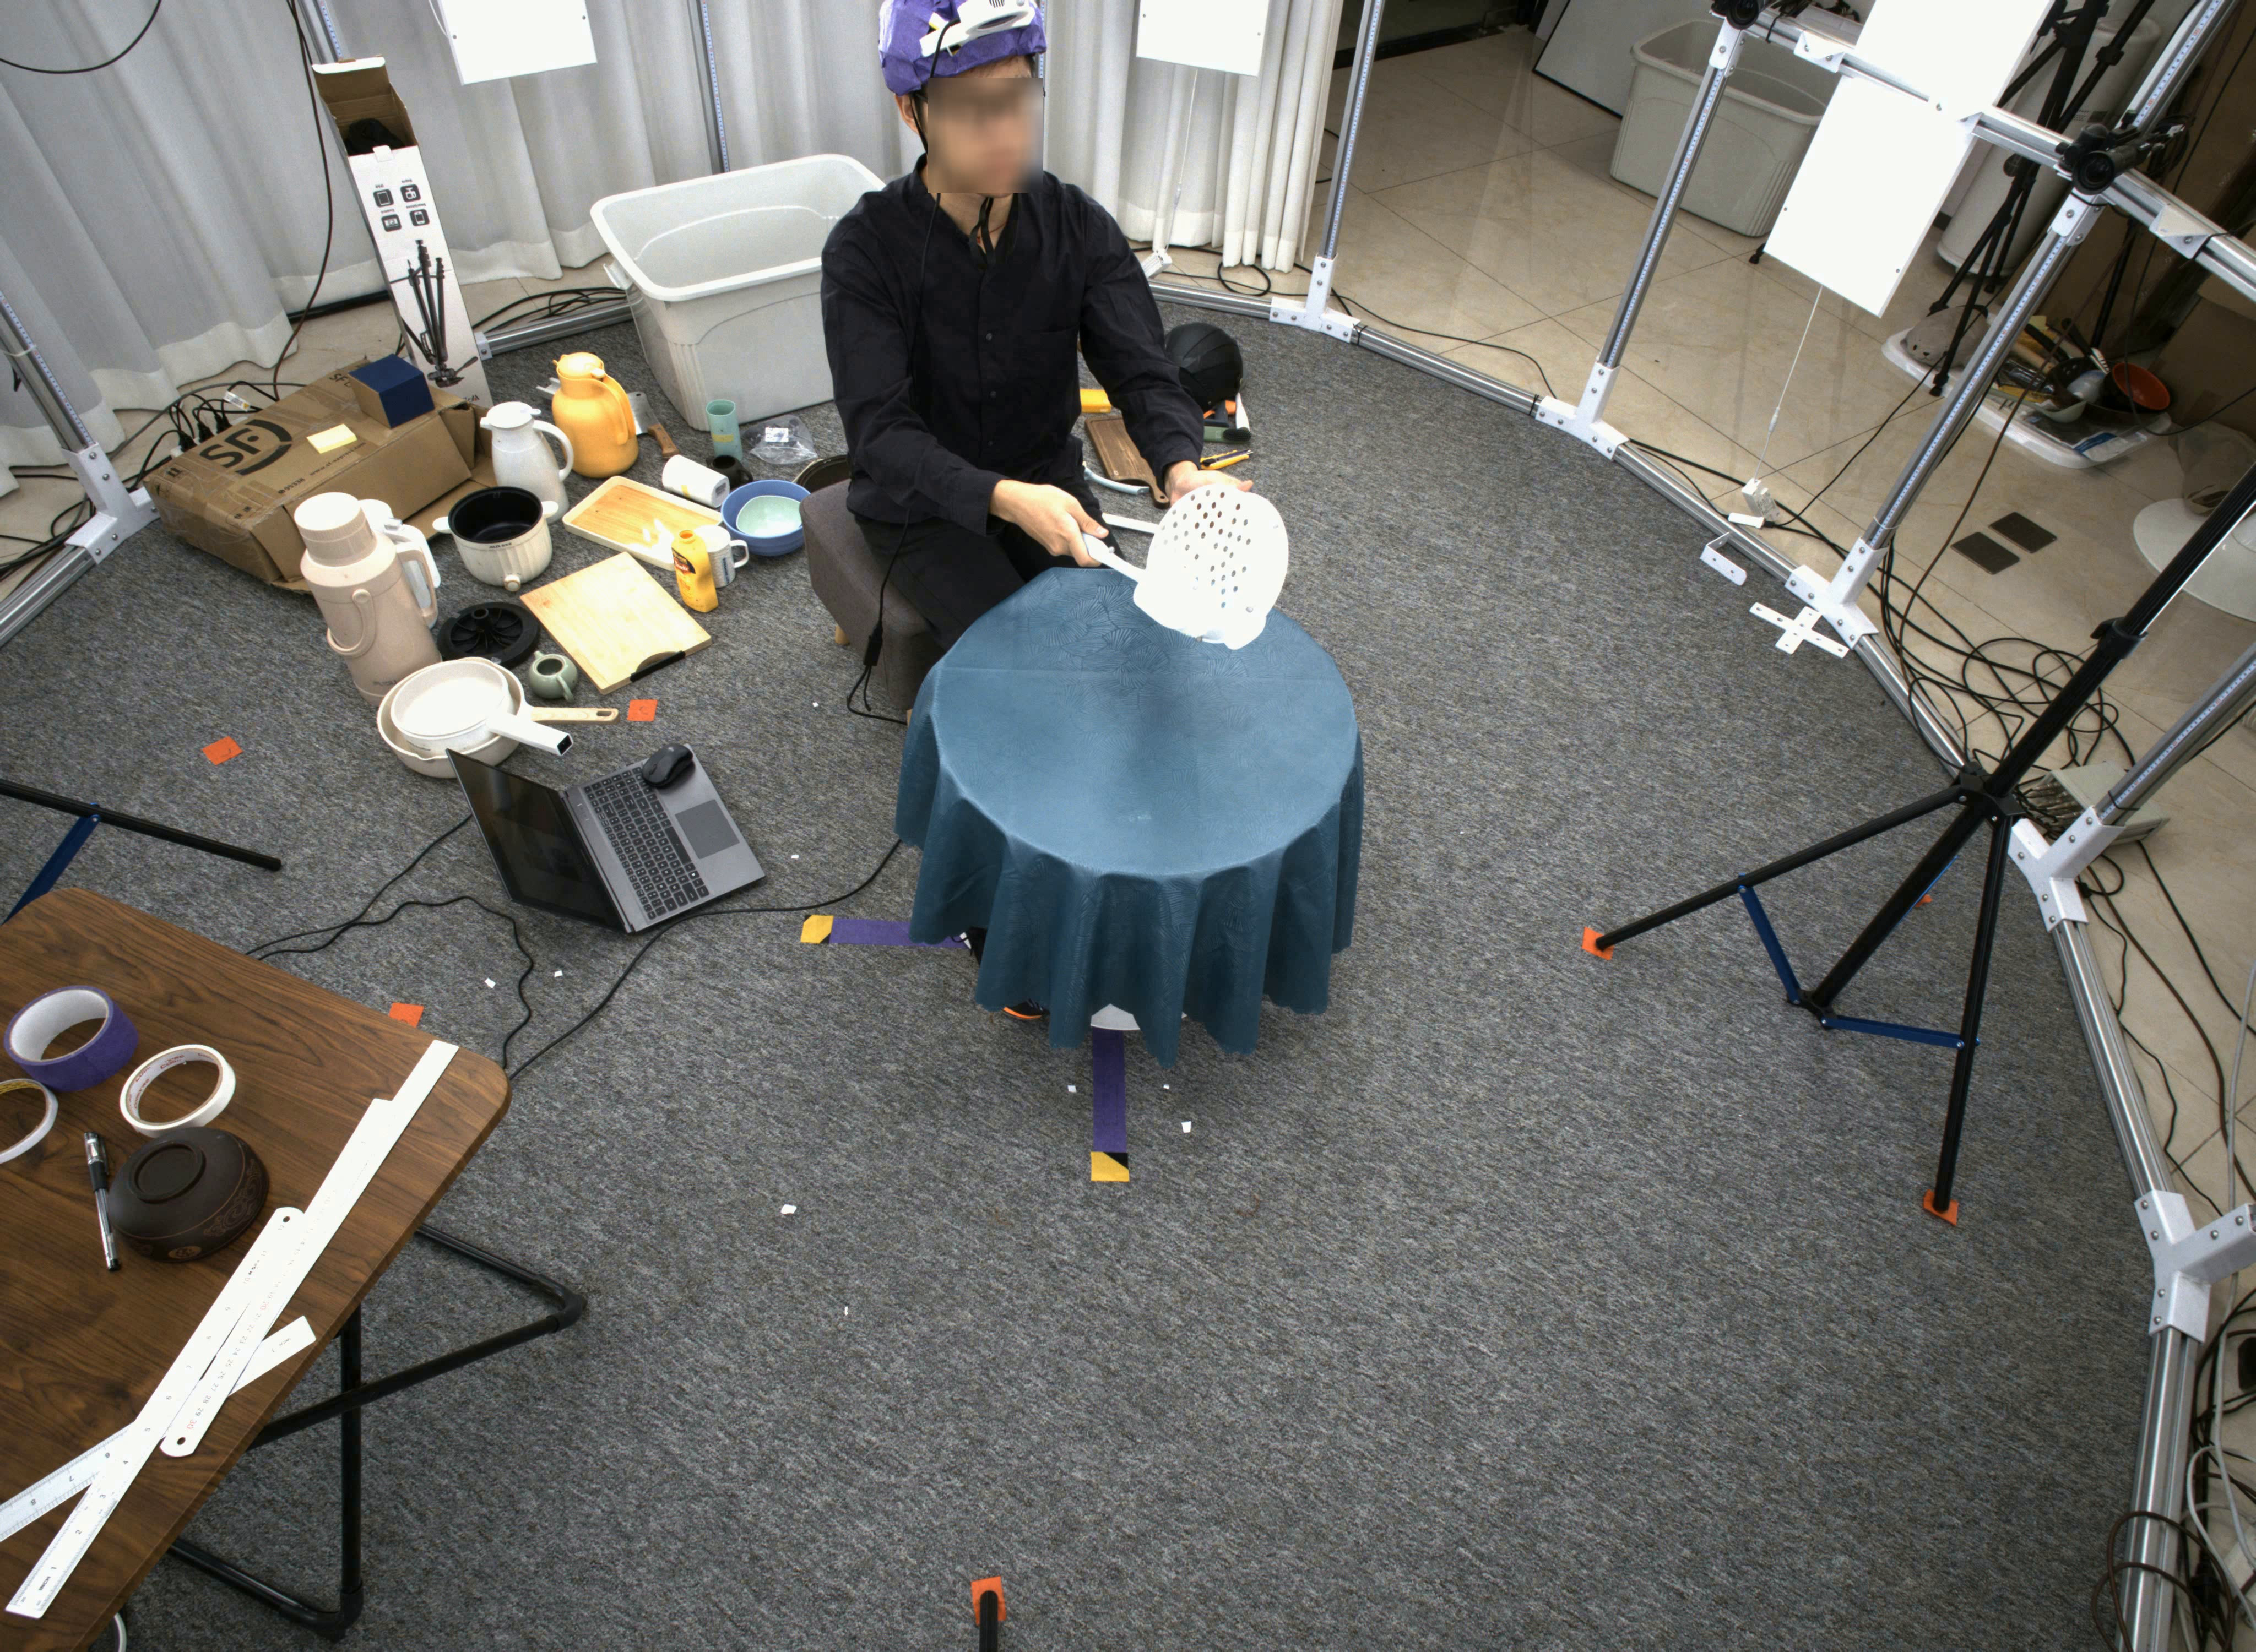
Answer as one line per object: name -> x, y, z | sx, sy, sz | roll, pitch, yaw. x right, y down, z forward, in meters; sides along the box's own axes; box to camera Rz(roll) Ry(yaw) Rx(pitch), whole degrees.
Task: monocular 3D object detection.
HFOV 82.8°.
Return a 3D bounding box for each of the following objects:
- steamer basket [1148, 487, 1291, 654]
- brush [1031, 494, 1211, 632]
steamer basket -> 0.112, -0.336, 1.661 | 0.068, 0.200, 0.235 | 10, 58, -45
brush -> -0.001, -0.351, 1.683 | 0.083, 0.082, 0.331 | -41, 57, -12
